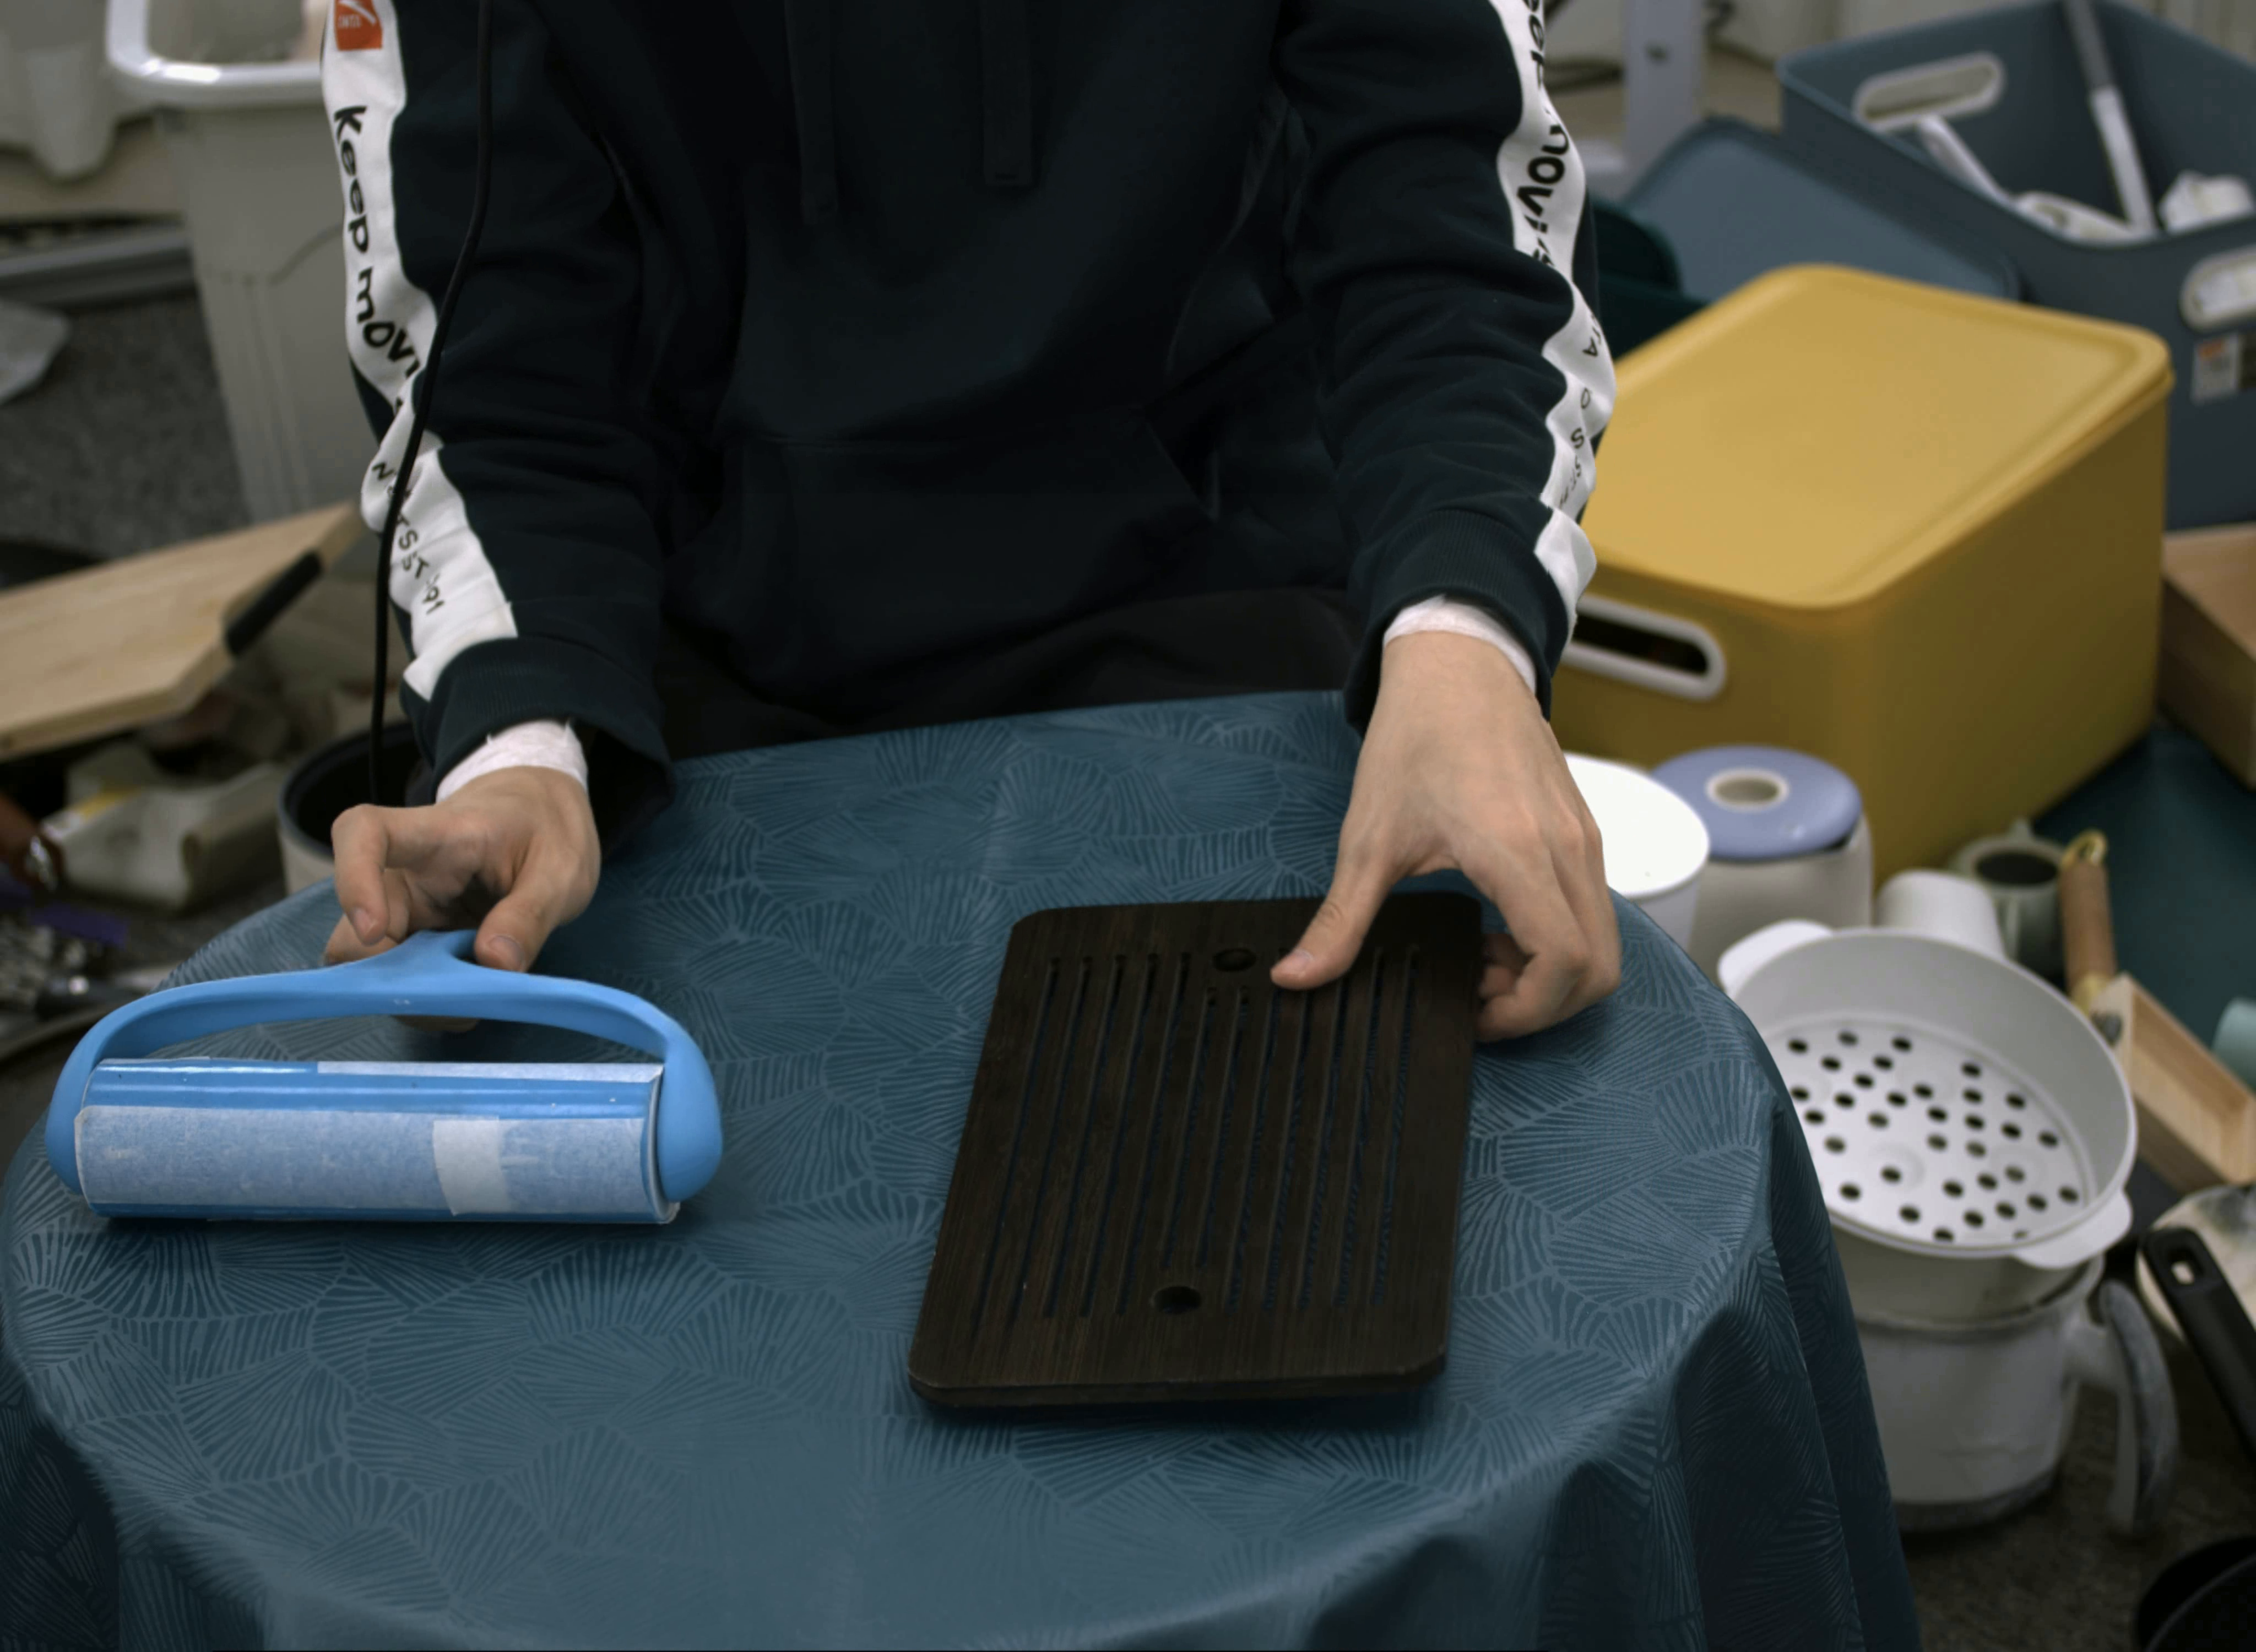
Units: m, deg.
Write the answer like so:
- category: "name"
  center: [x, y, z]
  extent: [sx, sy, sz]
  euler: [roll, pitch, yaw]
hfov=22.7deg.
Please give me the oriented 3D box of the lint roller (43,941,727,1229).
- category: "lint roller"
  center: [-0.243, 0.075, 1.909]
  extent: [0.227, 0.067, 0.183]
  euler: [-3, 30, 4]

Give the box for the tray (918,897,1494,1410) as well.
- category: "tray"
  center: [0.032, 0.106, 1.861]
  extent: [0.169, 0.018, 0.311]
  euler: [-2, 27, 7]
